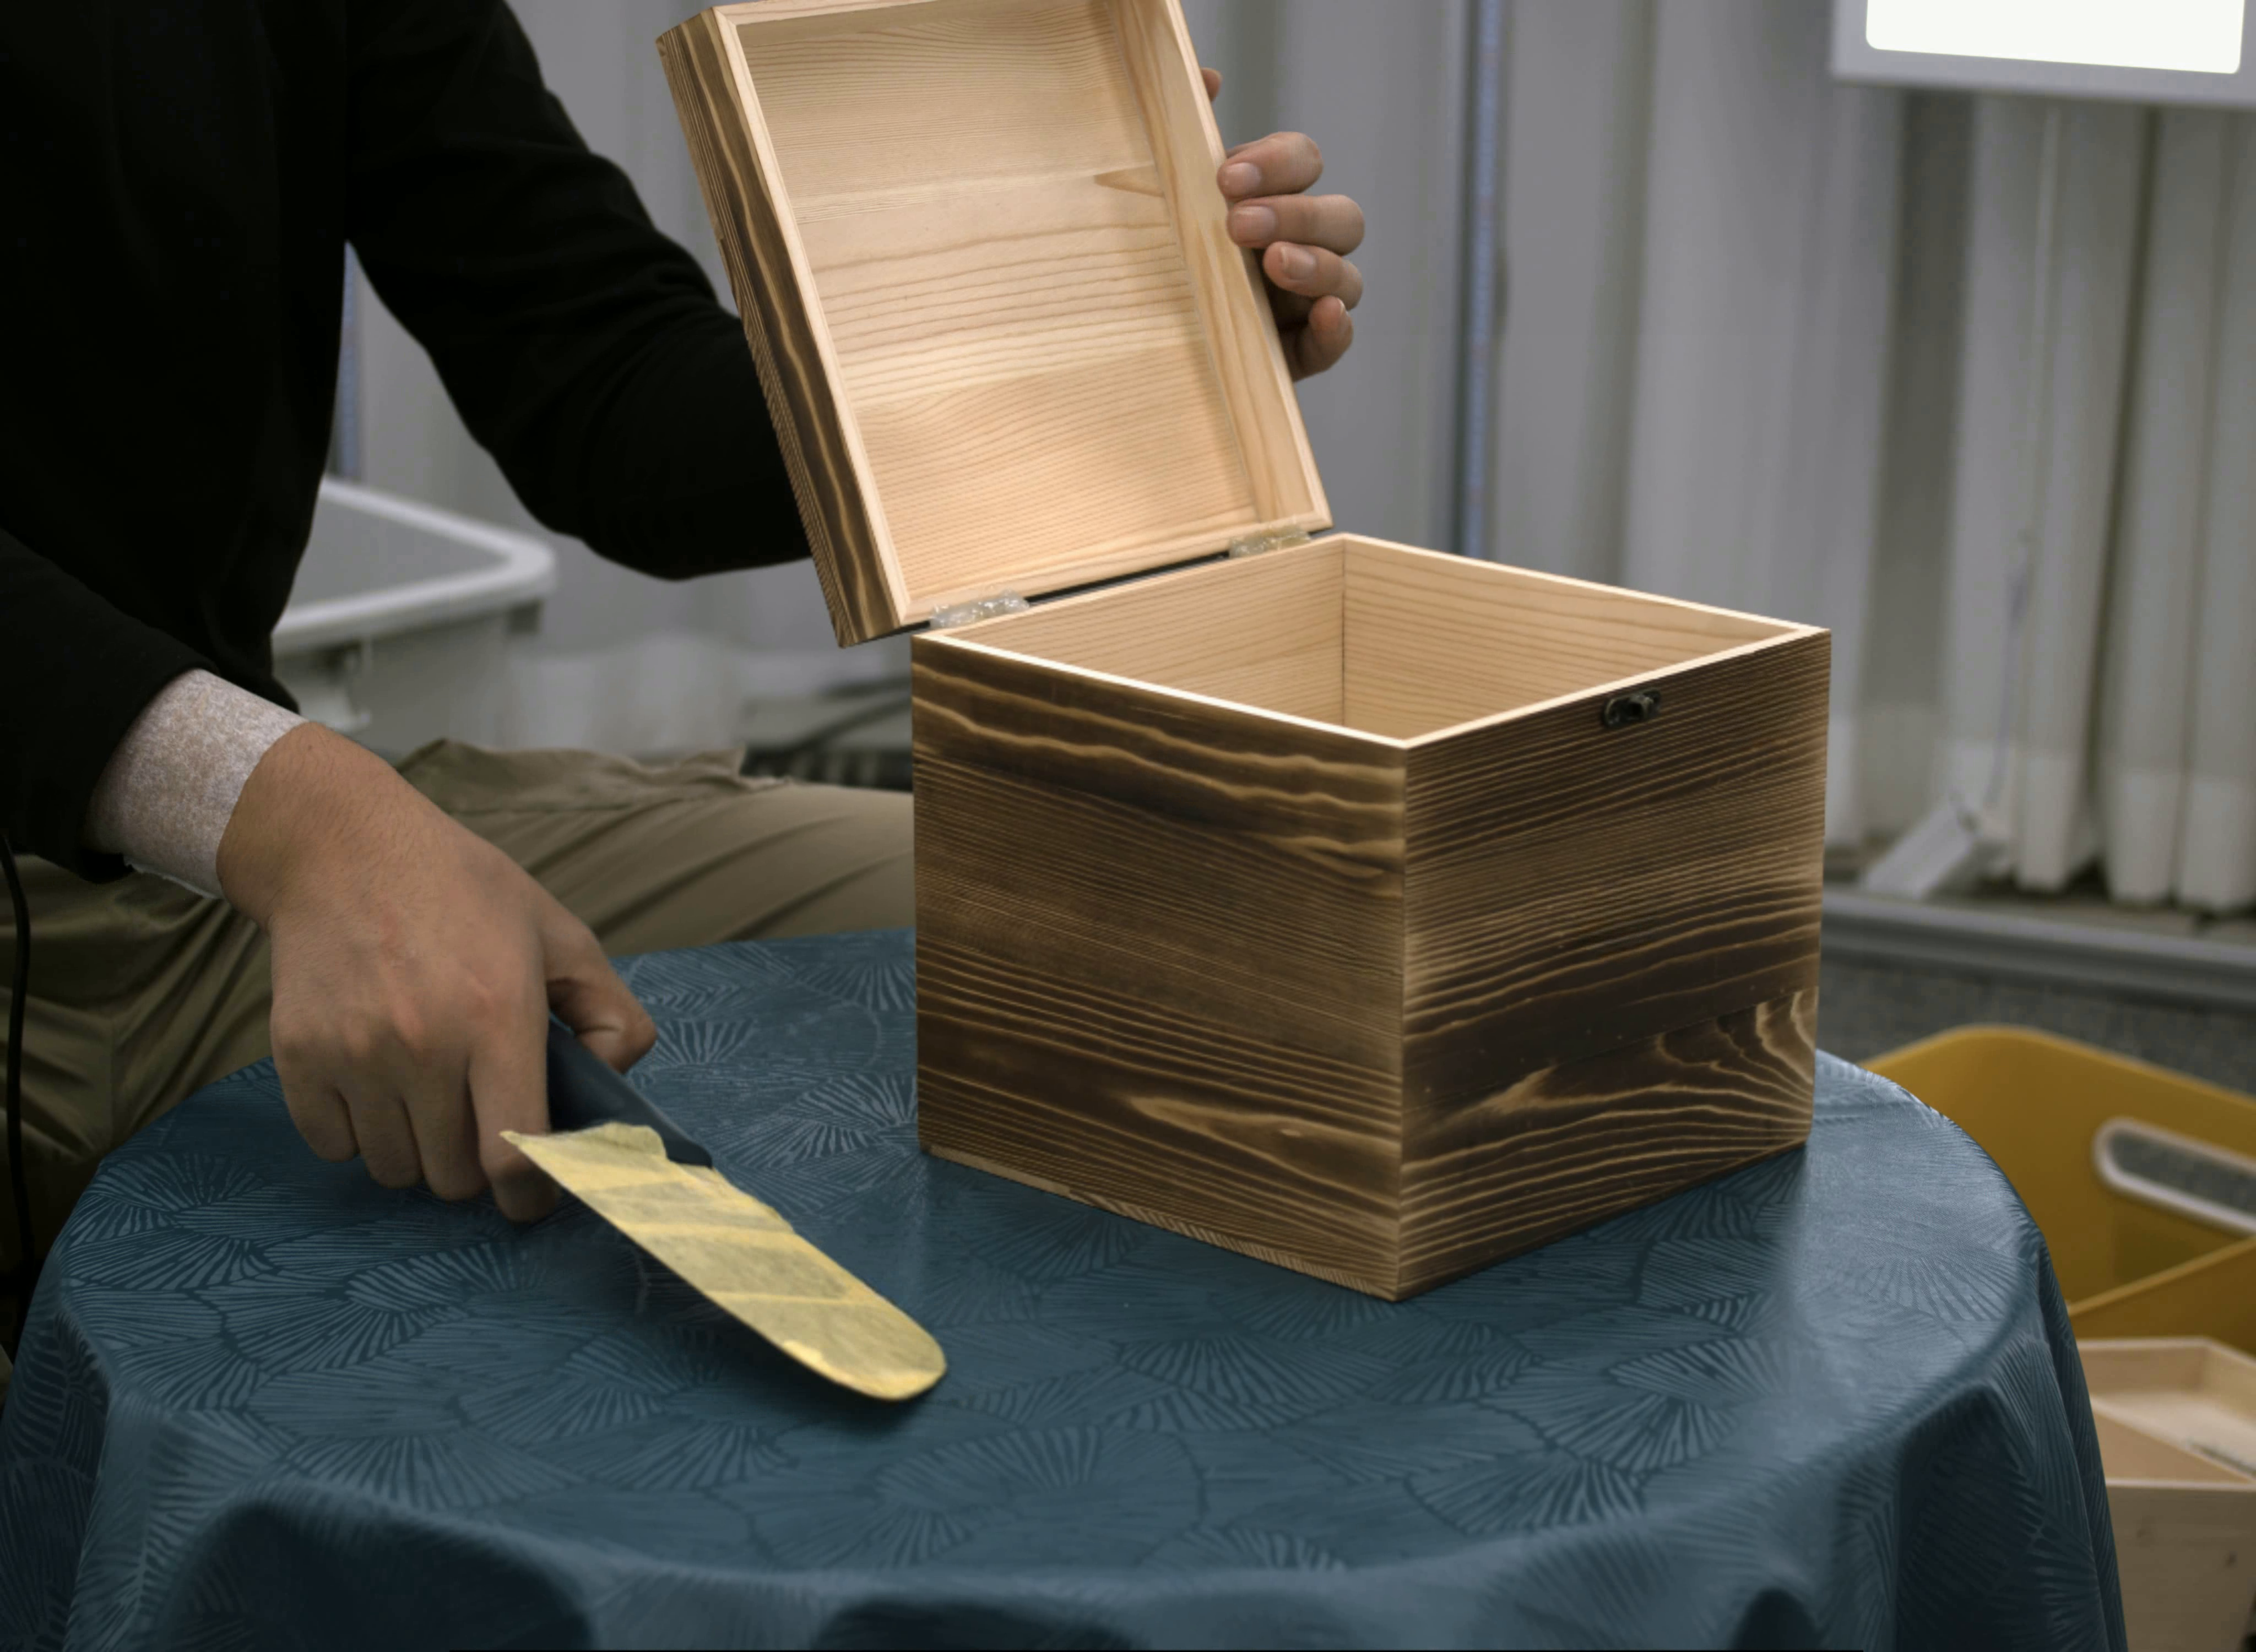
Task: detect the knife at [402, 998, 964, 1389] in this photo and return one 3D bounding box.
[{"bbox_3d":[-0.141,0.107,1.540,0.082,0.027,0.285,15,9,-43],"label":"knife"}]

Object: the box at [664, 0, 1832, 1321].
[{"bbox_3d":[0.036,-0.080,1.642,0.318,0.378,0.209,13,22,41],"label":"box"}]
